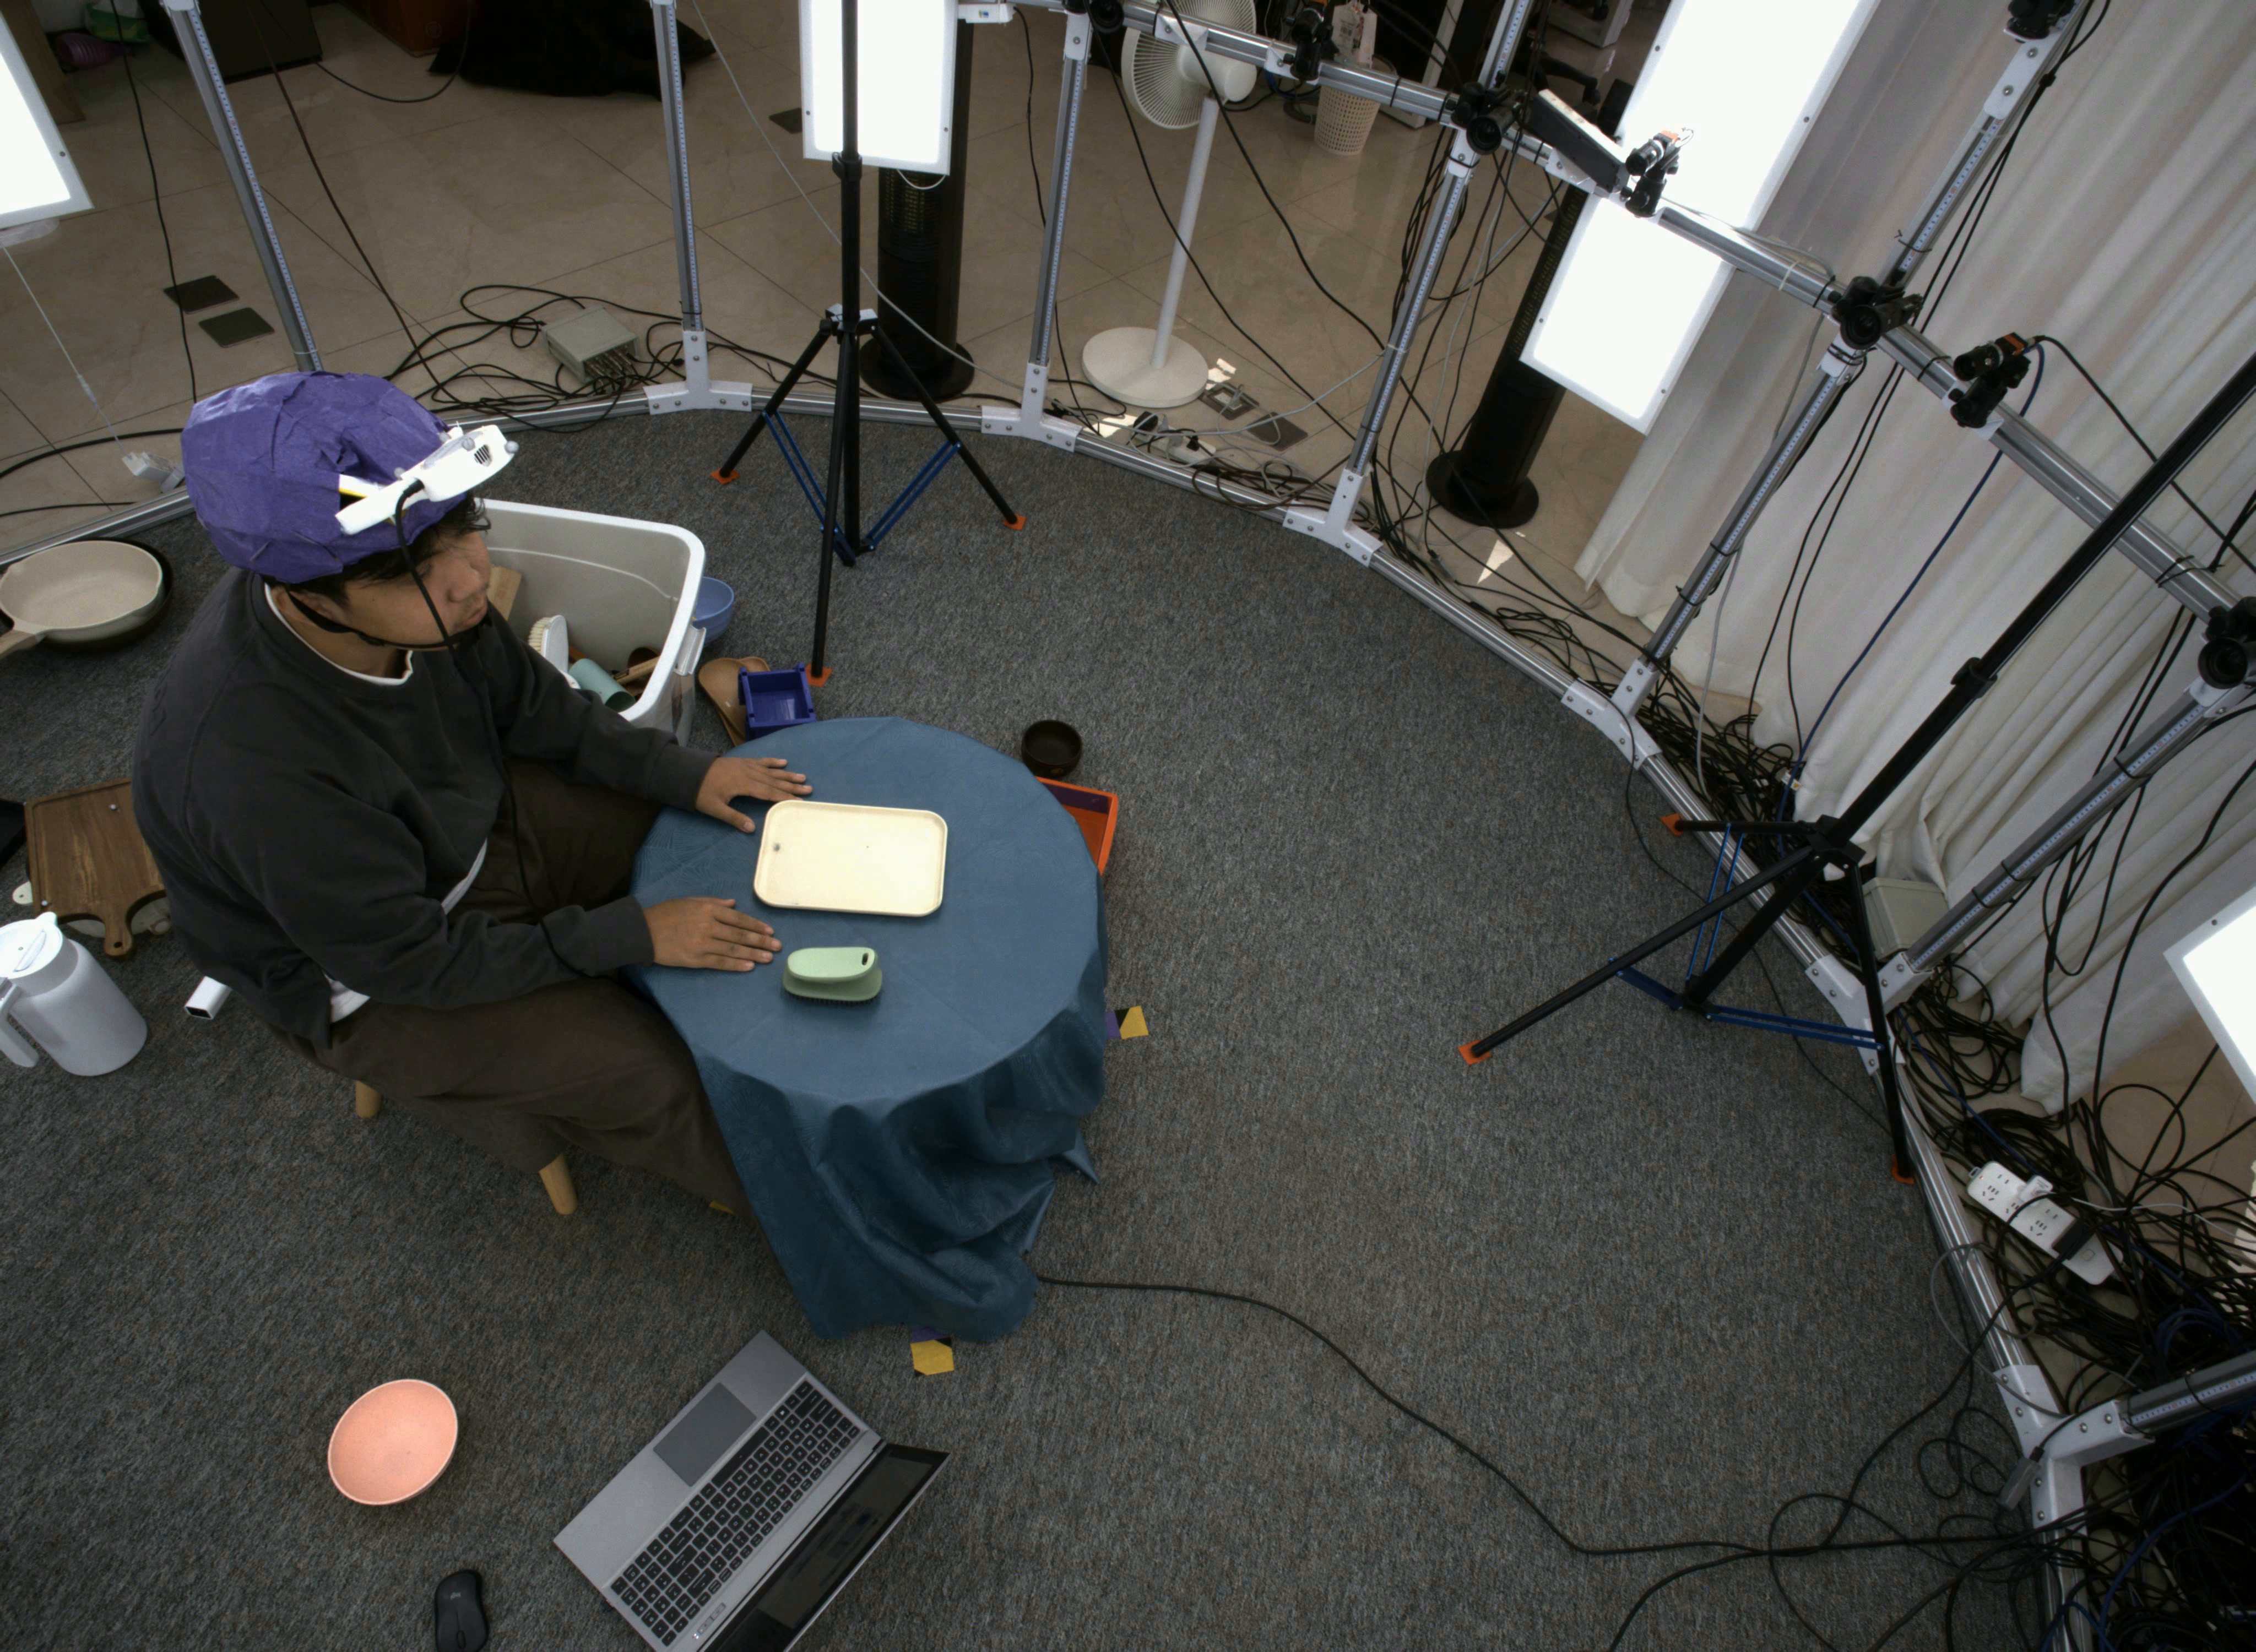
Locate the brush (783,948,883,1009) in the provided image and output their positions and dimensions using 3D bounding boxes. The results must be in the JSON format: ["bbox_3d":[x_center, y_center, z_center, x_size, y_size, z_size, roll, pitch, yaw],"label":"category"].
[{"bbox_3d":[-0.354,0.181,1.568,0.121,0.078,0.058,-4,51,1],"label":"brush"}]

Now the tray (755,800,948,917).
[{"bbox_3d":[-0.357,0.042,1.693,0.239,0.018,0.168,5,52,-10],"label":"tray"}]
